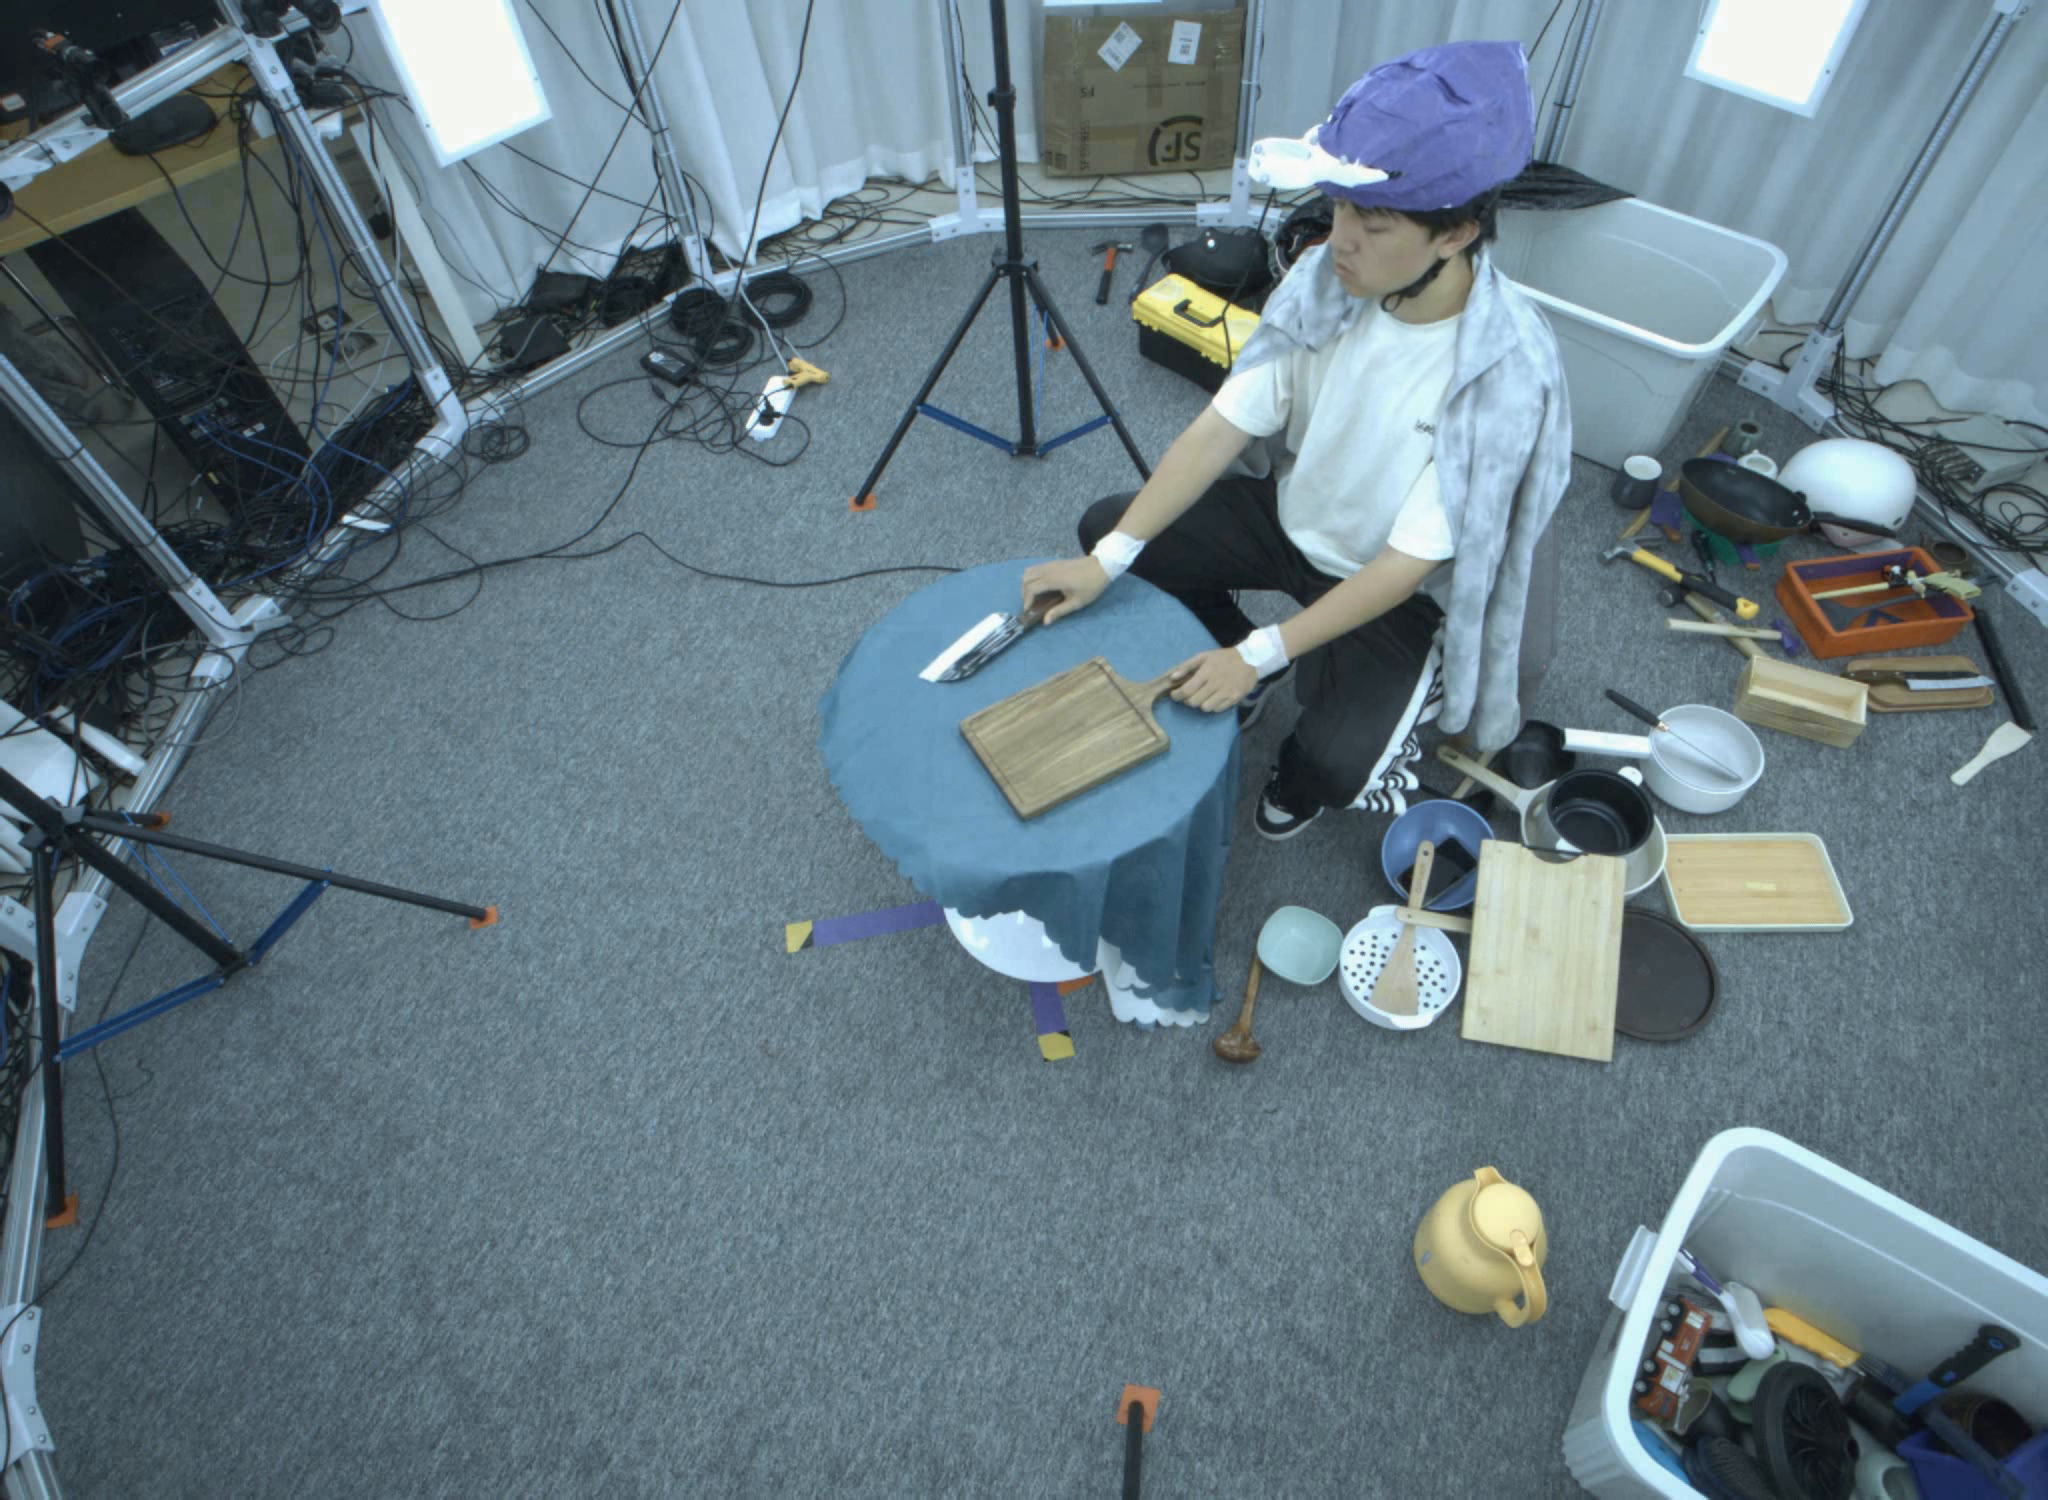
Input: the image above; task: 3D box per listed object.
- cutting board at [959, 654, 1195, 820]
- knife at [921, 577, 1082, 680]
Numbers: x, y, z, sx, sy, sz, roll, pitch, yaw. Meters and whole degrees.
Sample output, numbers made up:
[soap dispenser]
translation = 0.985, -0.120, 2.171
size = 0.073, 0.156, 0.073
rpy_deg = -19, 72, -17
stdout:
[cutting board]
translation = 0.102, -0.045, 1.805
size = 0.355, 0.023, 0.197
rpy_deg = -26, 58, -16
[knife]
translation = -0.034, -0.192, 1.915
size = 0.301, 0.024, 0.067
rpy_deg = -39, 59, -20
